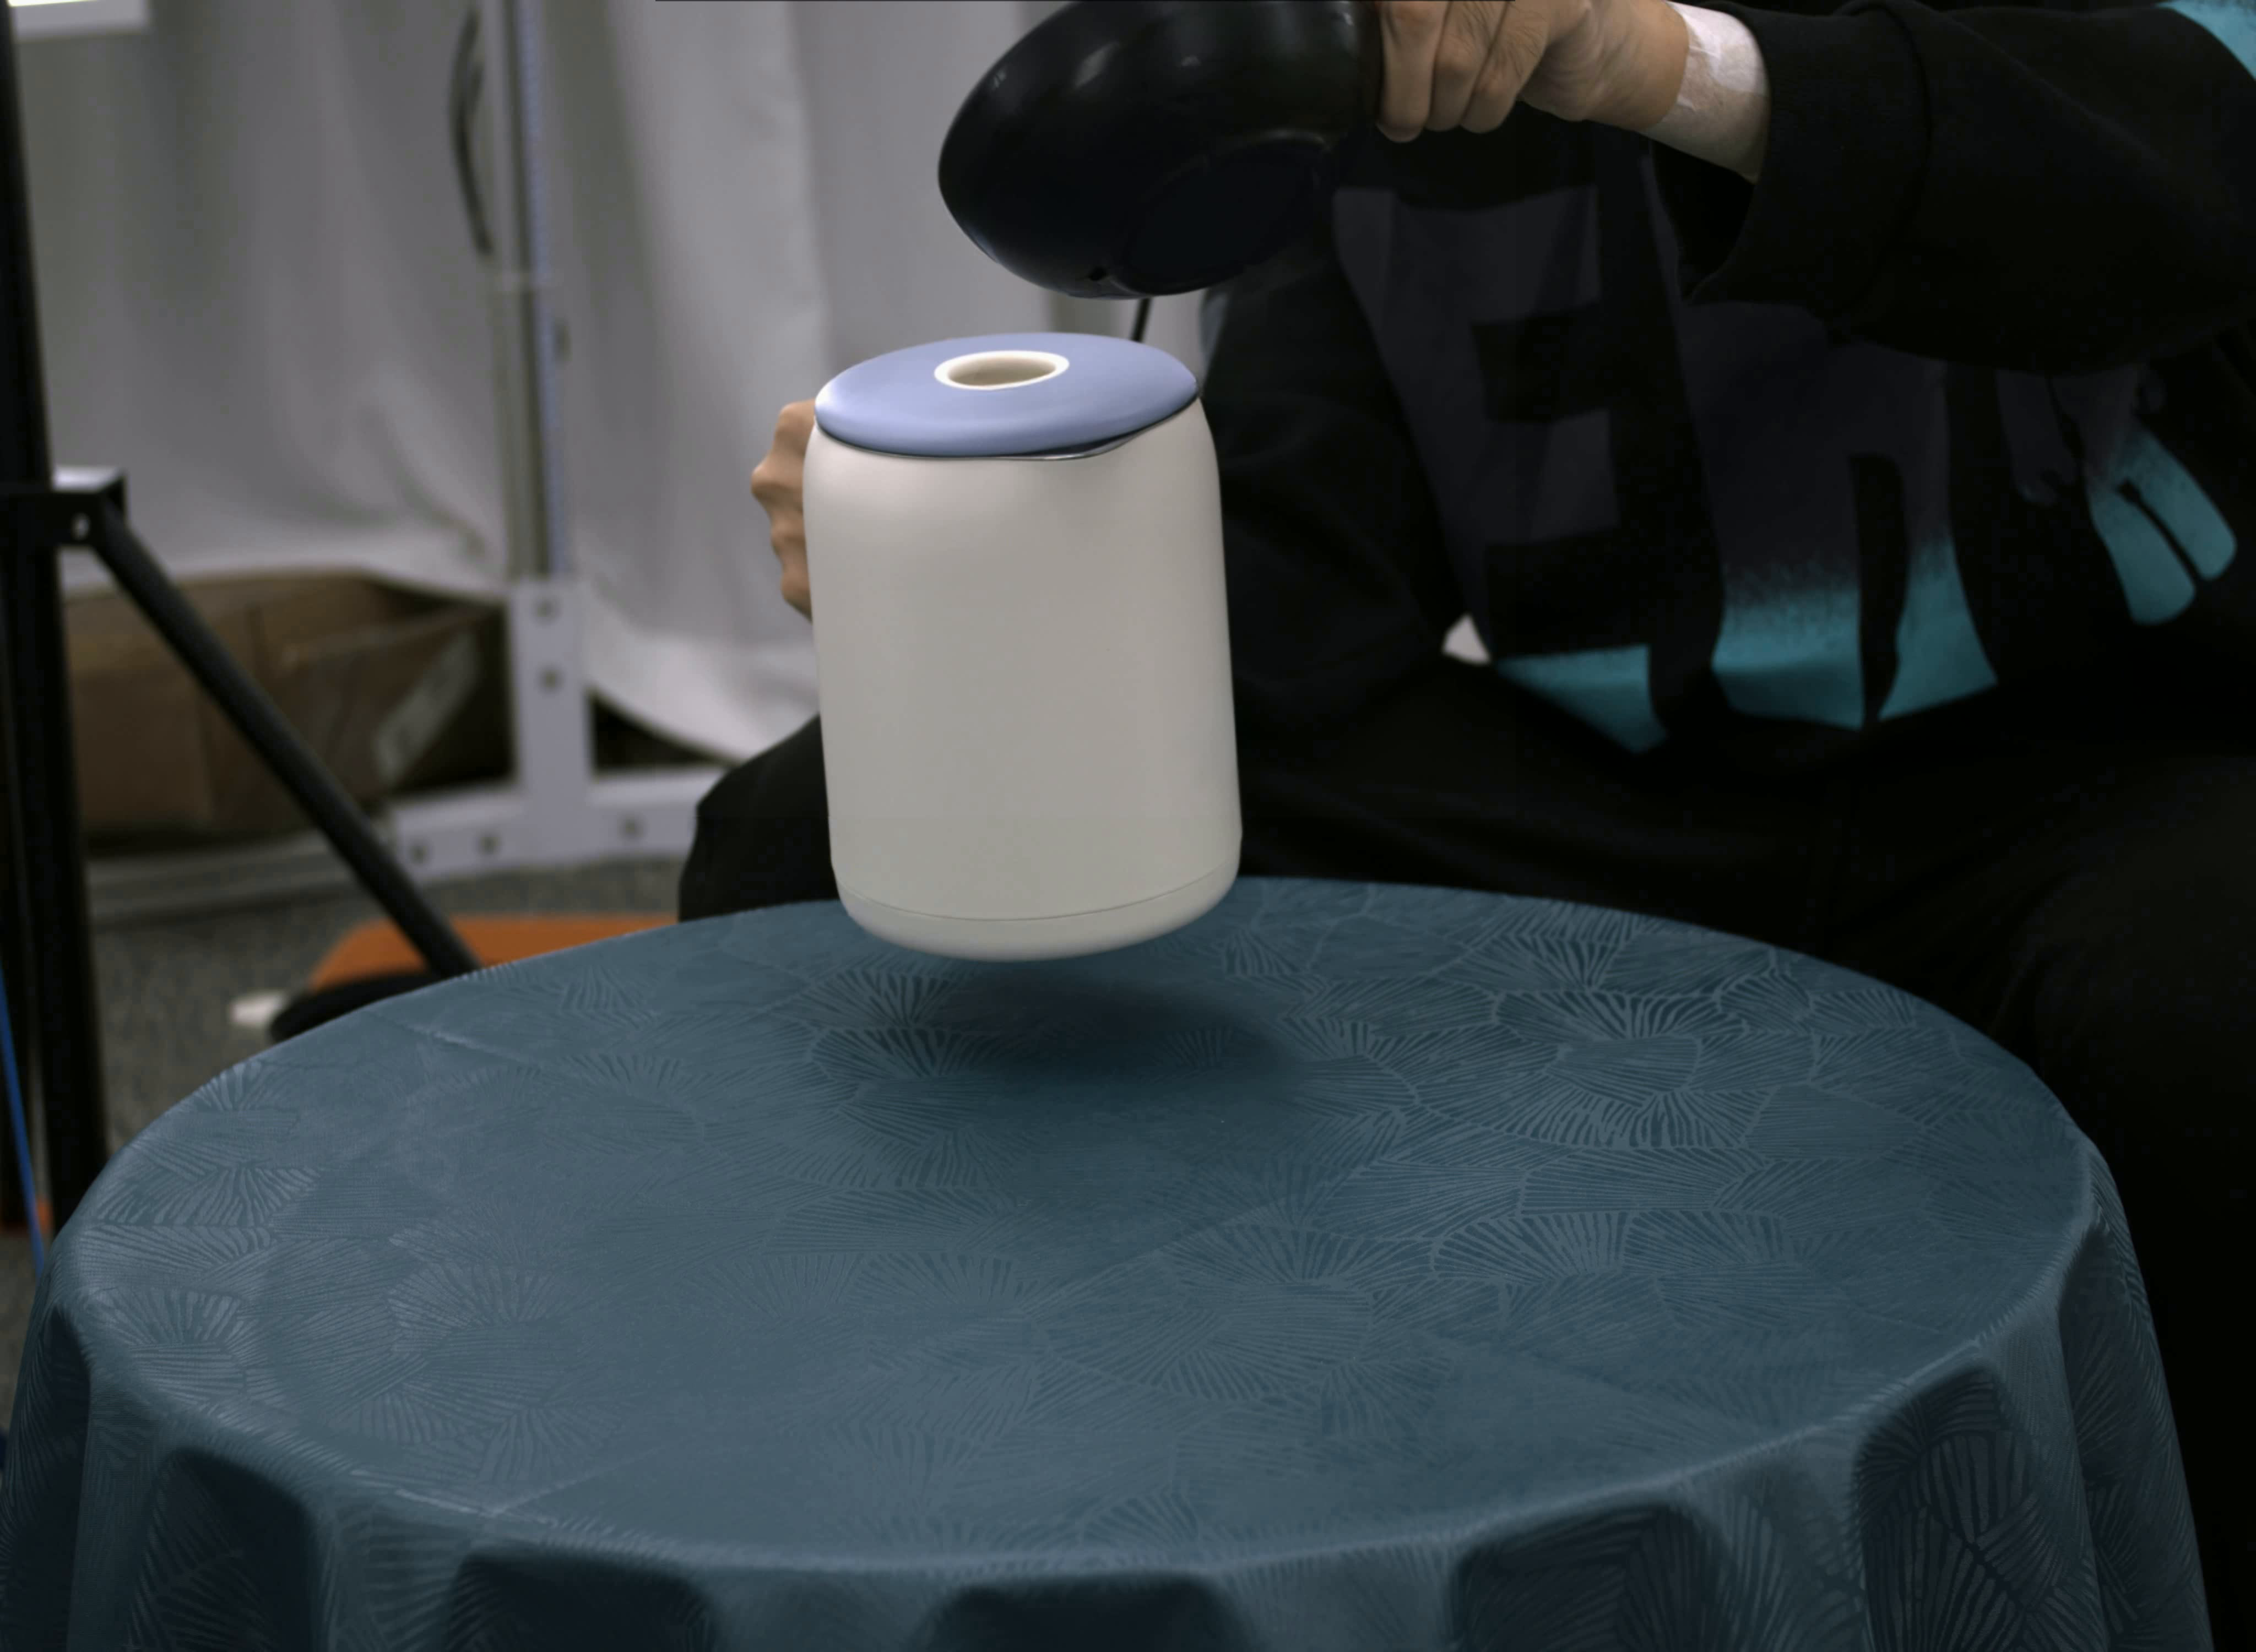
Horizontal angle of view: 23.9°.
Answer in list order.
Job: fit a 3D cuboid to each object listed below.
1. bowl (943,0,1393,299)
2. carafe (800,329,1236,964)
[{"bbox_3d":[0.020,-0.193,1.526,0.137,0.141,0.050,-11,62,-29],"label":"bowl"},{"bbox_3d":[-0.044,-0.064,1.702,0.130,0.182,0.195,-10,18,-21],"label":"carafe"}]
